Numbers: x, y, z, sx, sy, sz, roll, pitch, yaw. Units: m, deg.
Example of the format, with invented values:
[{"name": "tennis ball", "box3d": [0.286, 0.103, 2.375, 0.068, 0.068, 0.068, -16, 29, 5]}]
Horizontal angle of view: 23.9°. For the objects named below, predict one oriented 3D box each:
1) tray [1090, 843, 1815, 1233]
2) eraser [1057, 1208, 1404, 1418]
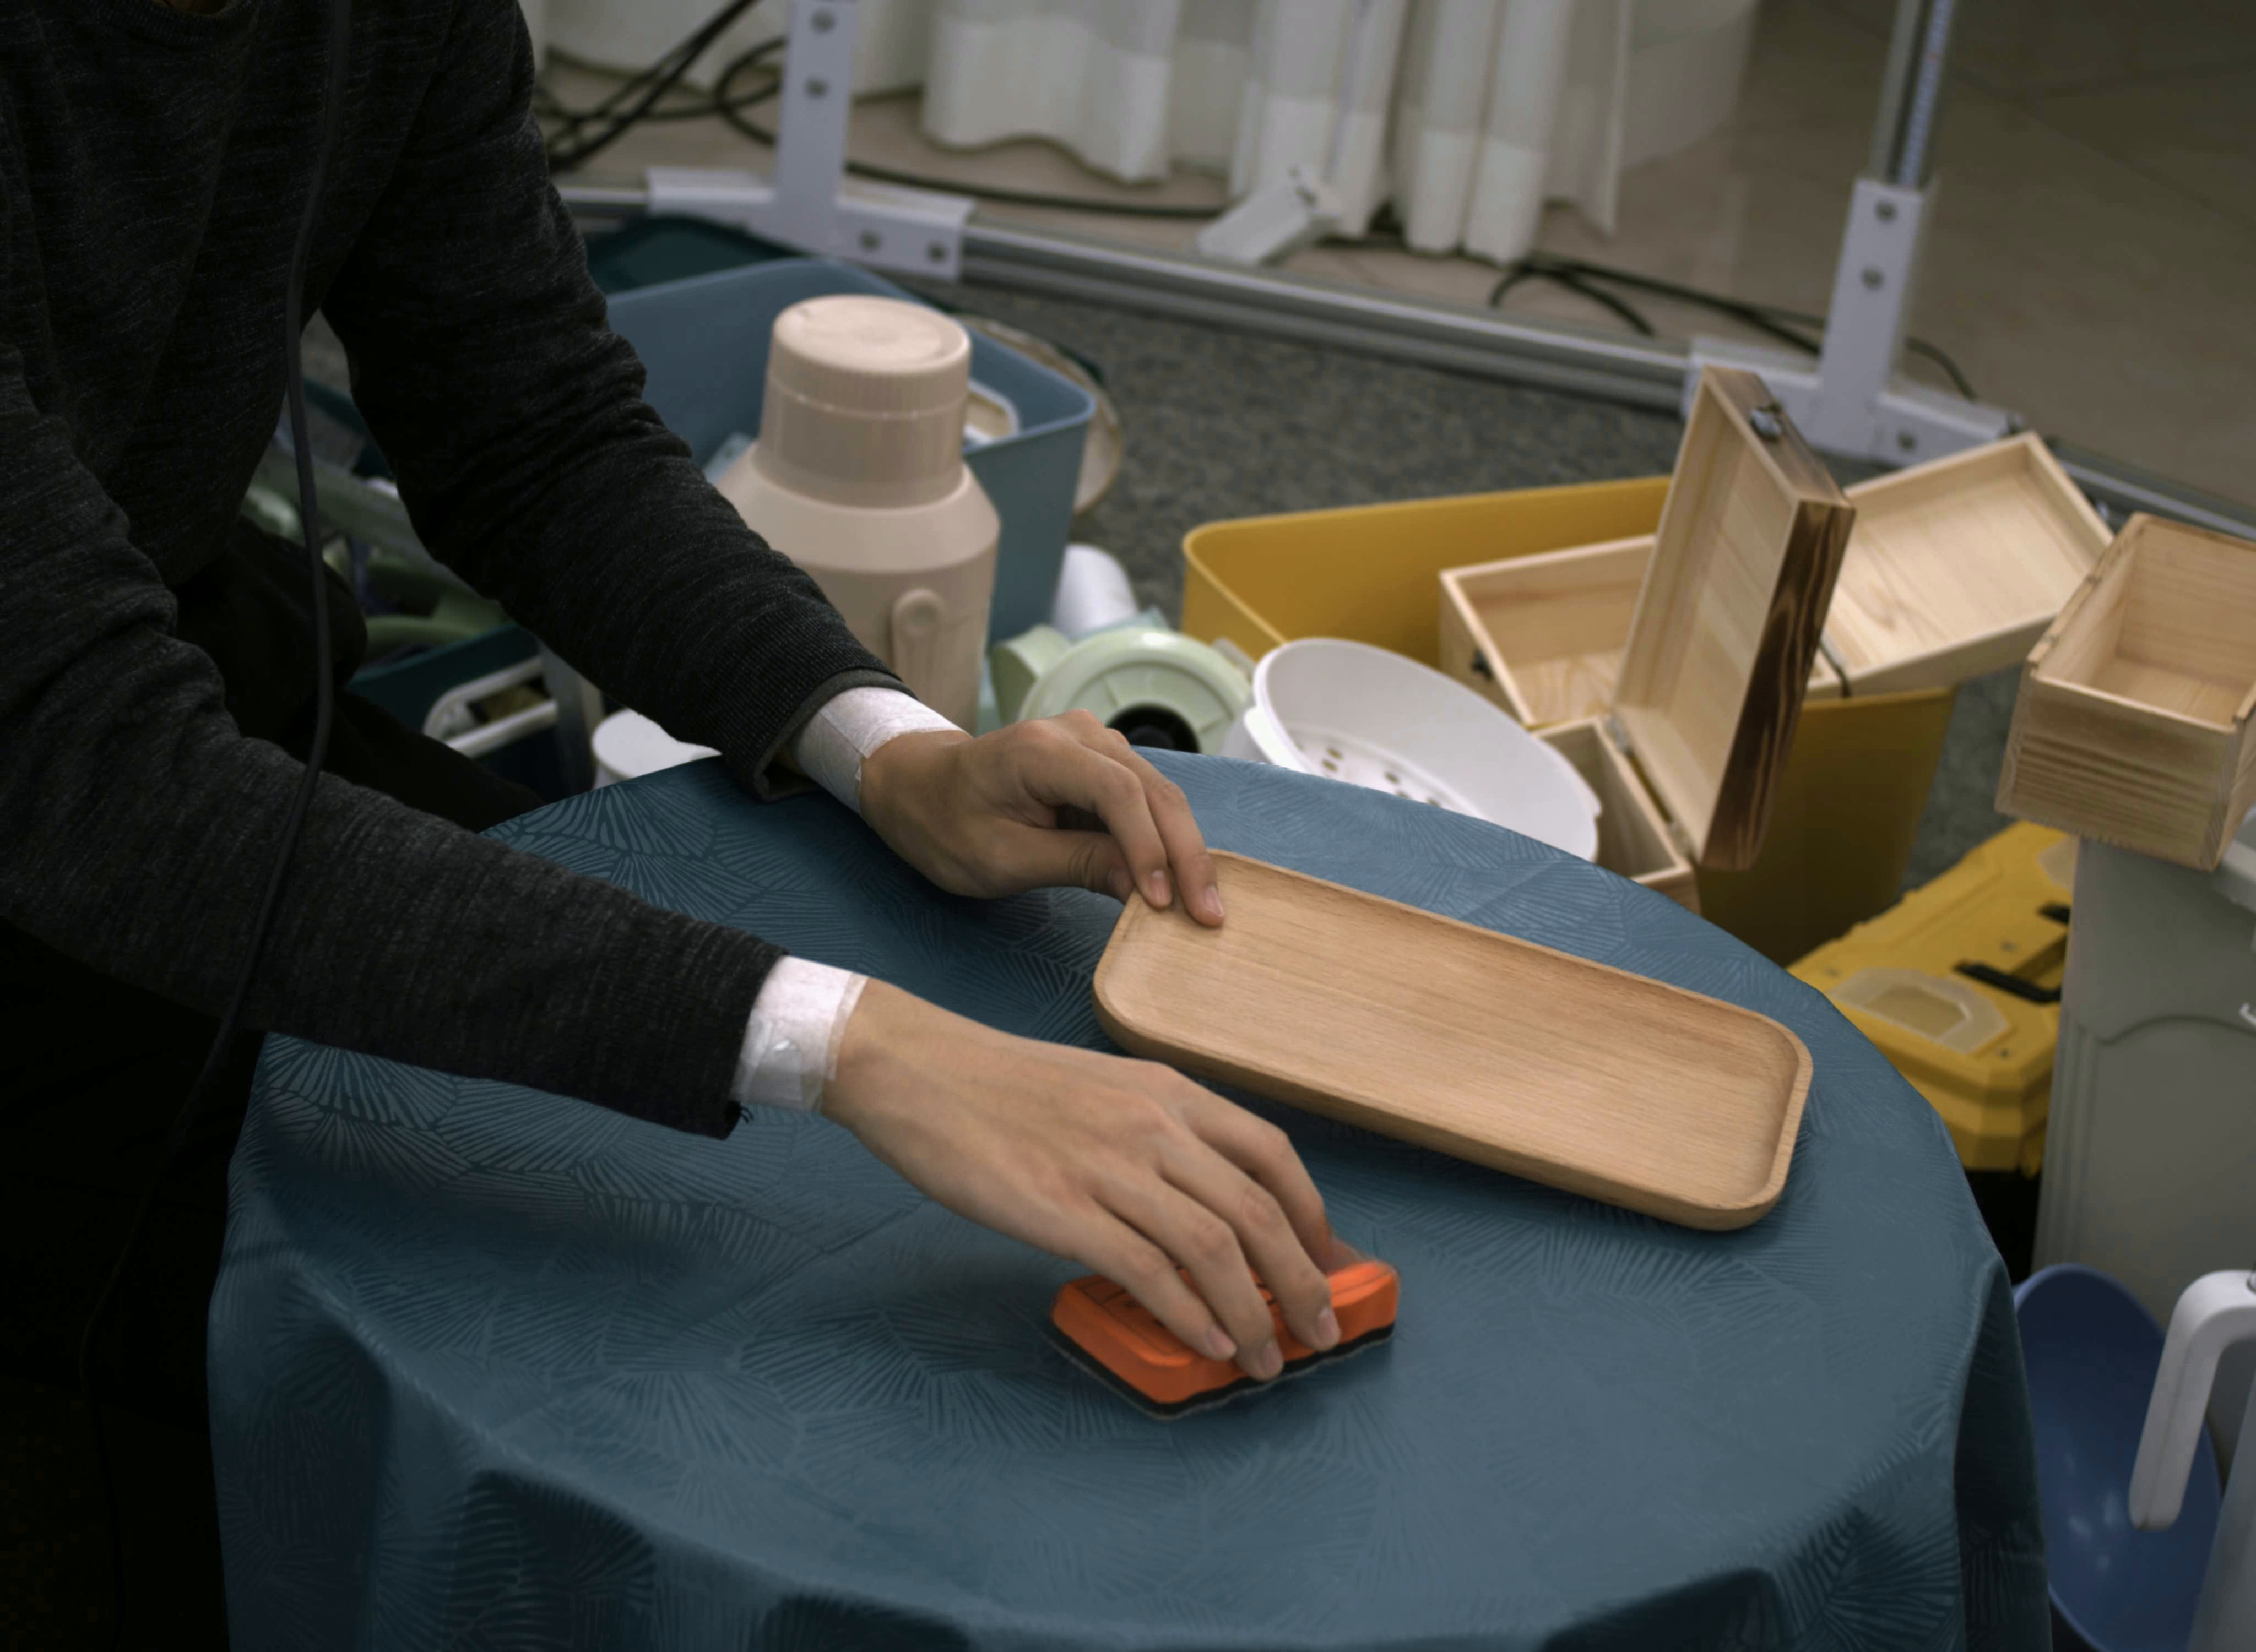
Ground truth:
[{"name": "tray", "box3d": [0.114, 0.074, 1.871, 0.250, 0.023, 0.131, 17, 31, 8]}, {"name": "eraser", "box3d": [0.033, 0.157, 1.718, 0.107, 0.023, 0.059, -15, 32, -35]}]
